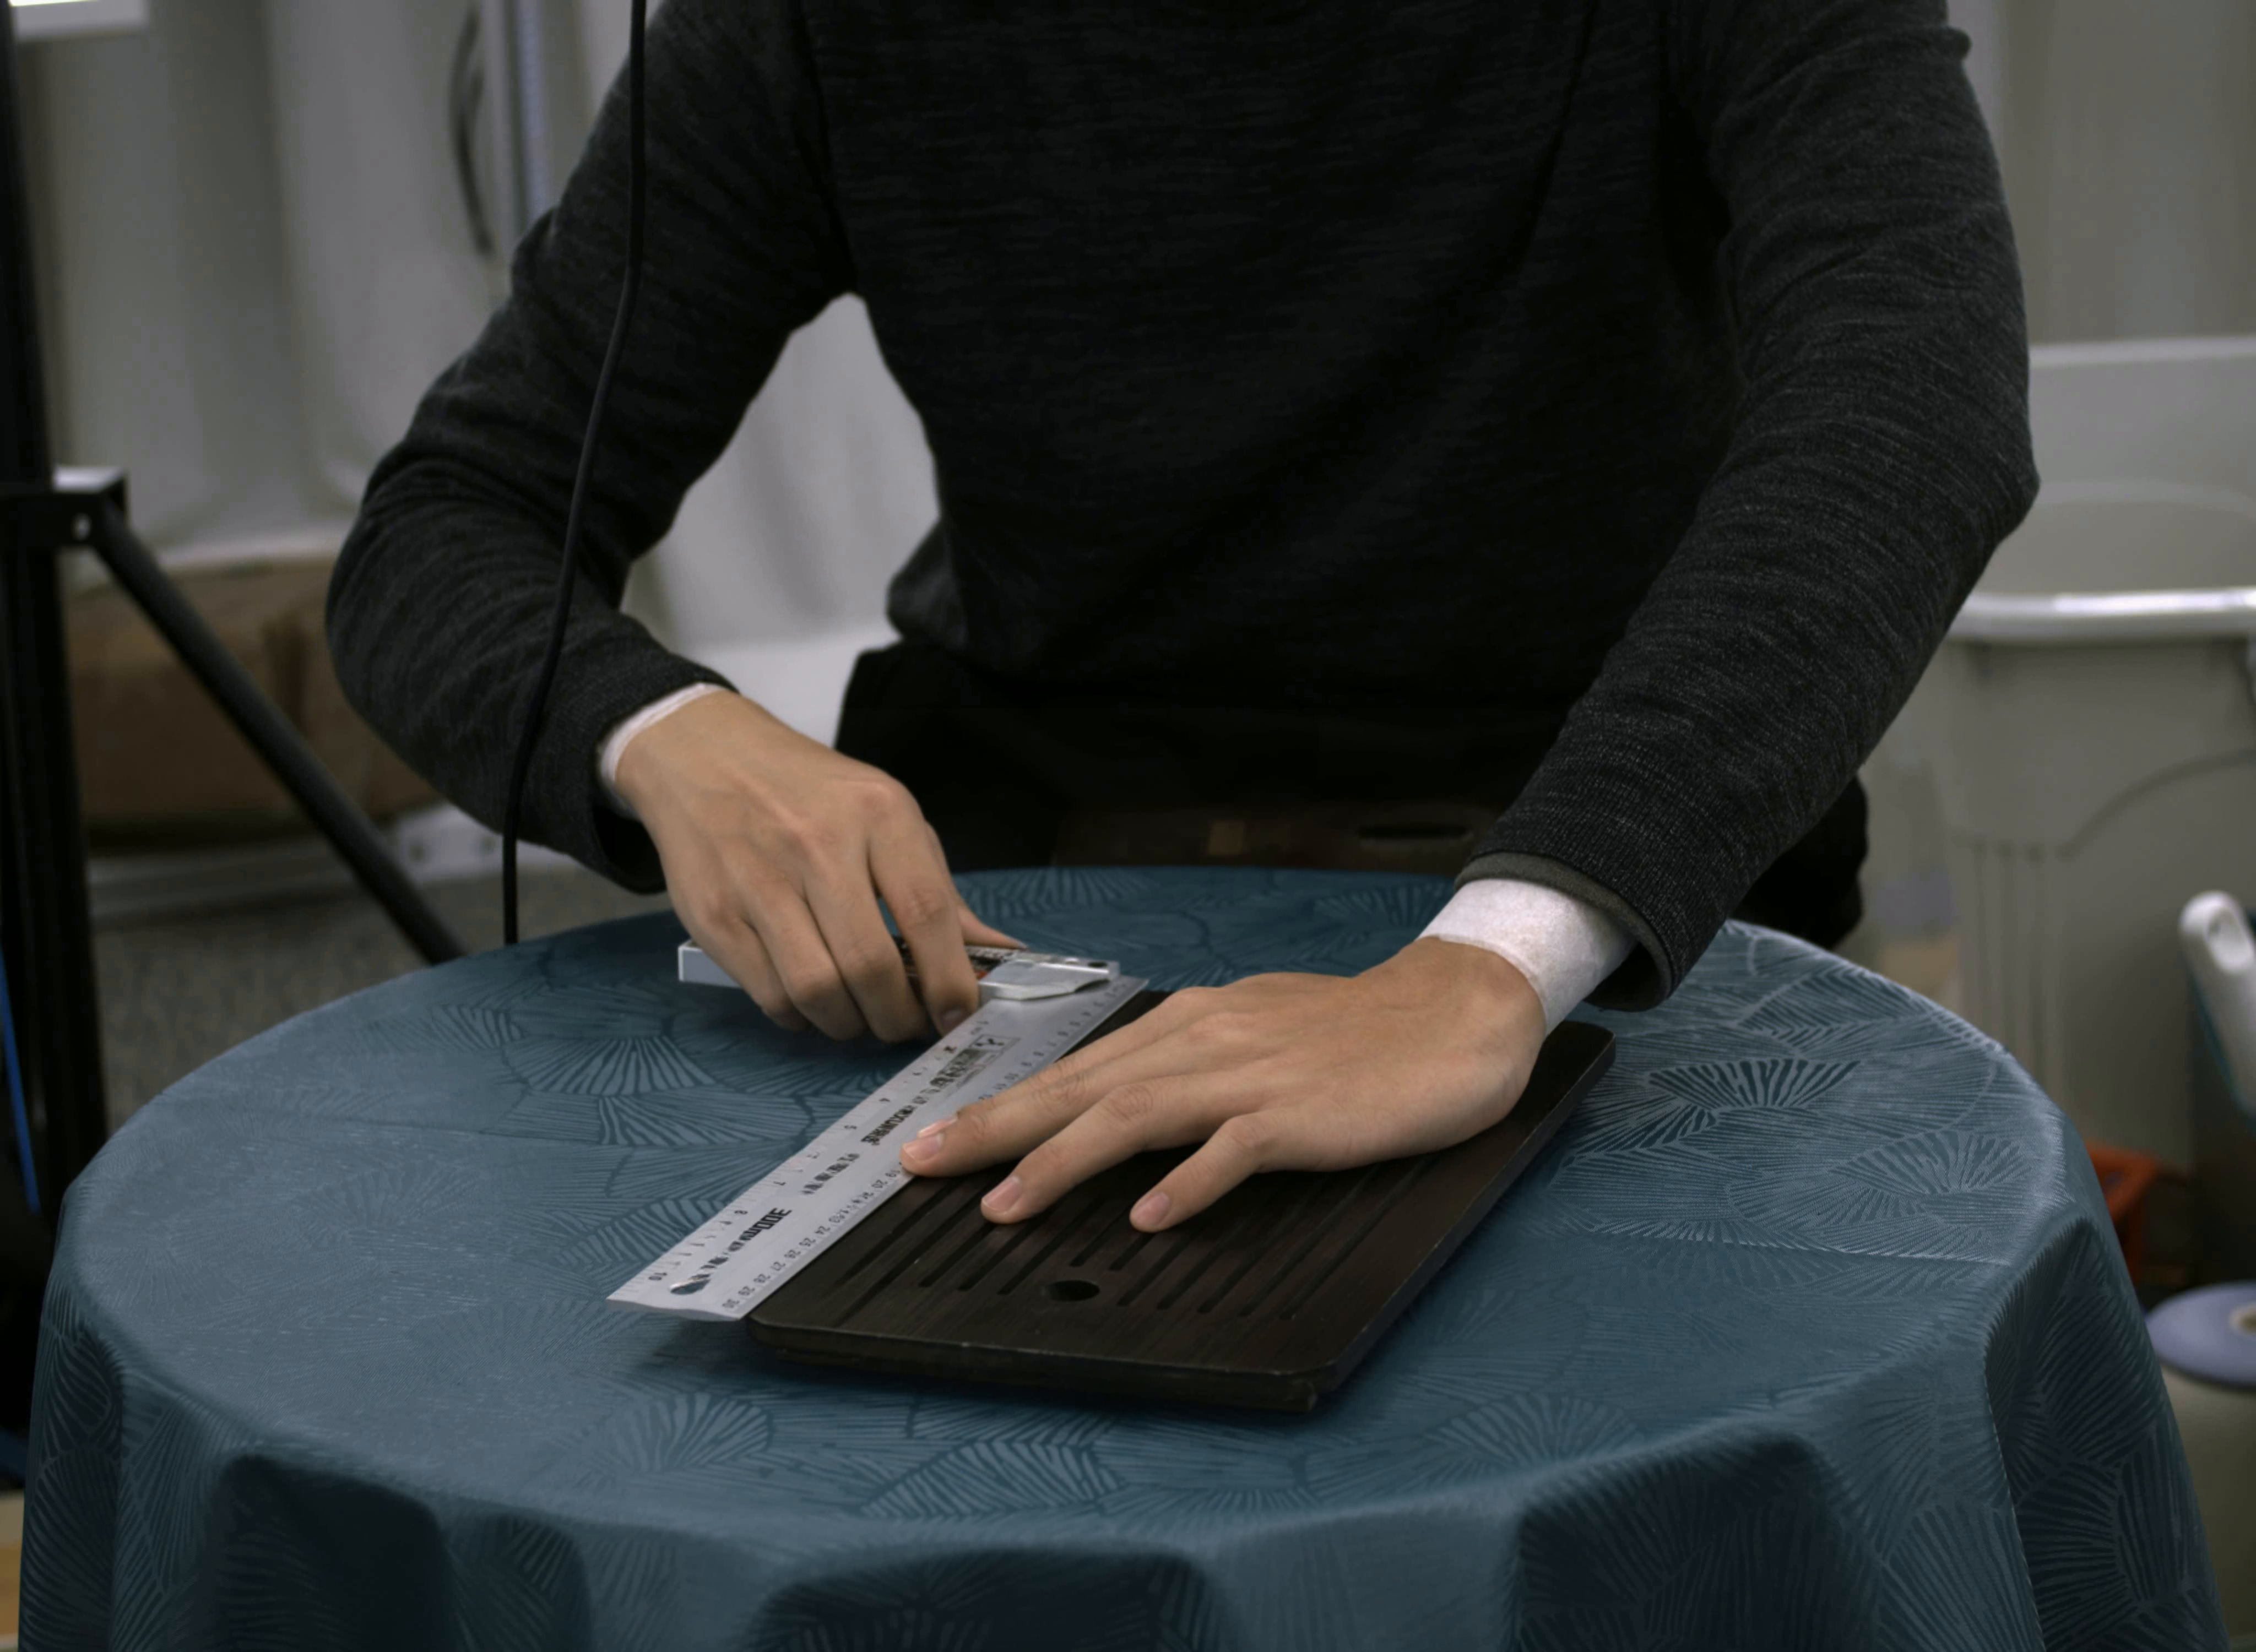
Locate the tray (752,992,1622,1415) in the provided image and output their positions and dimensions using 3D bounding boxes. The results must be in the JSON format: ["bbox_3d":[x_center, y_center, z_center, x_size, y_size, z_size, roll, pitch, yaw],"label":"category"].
[{"bbox_3d":[0.026,0.105,1.530,0.172,0.018,0.302,3,17,21],"label":"tray"}]

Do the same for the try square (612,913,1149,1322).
[{"bbox_3d":[-0.117,0.083,1.591,0.154,0.016,0.309,7,18,21],"label":"try square"}]
